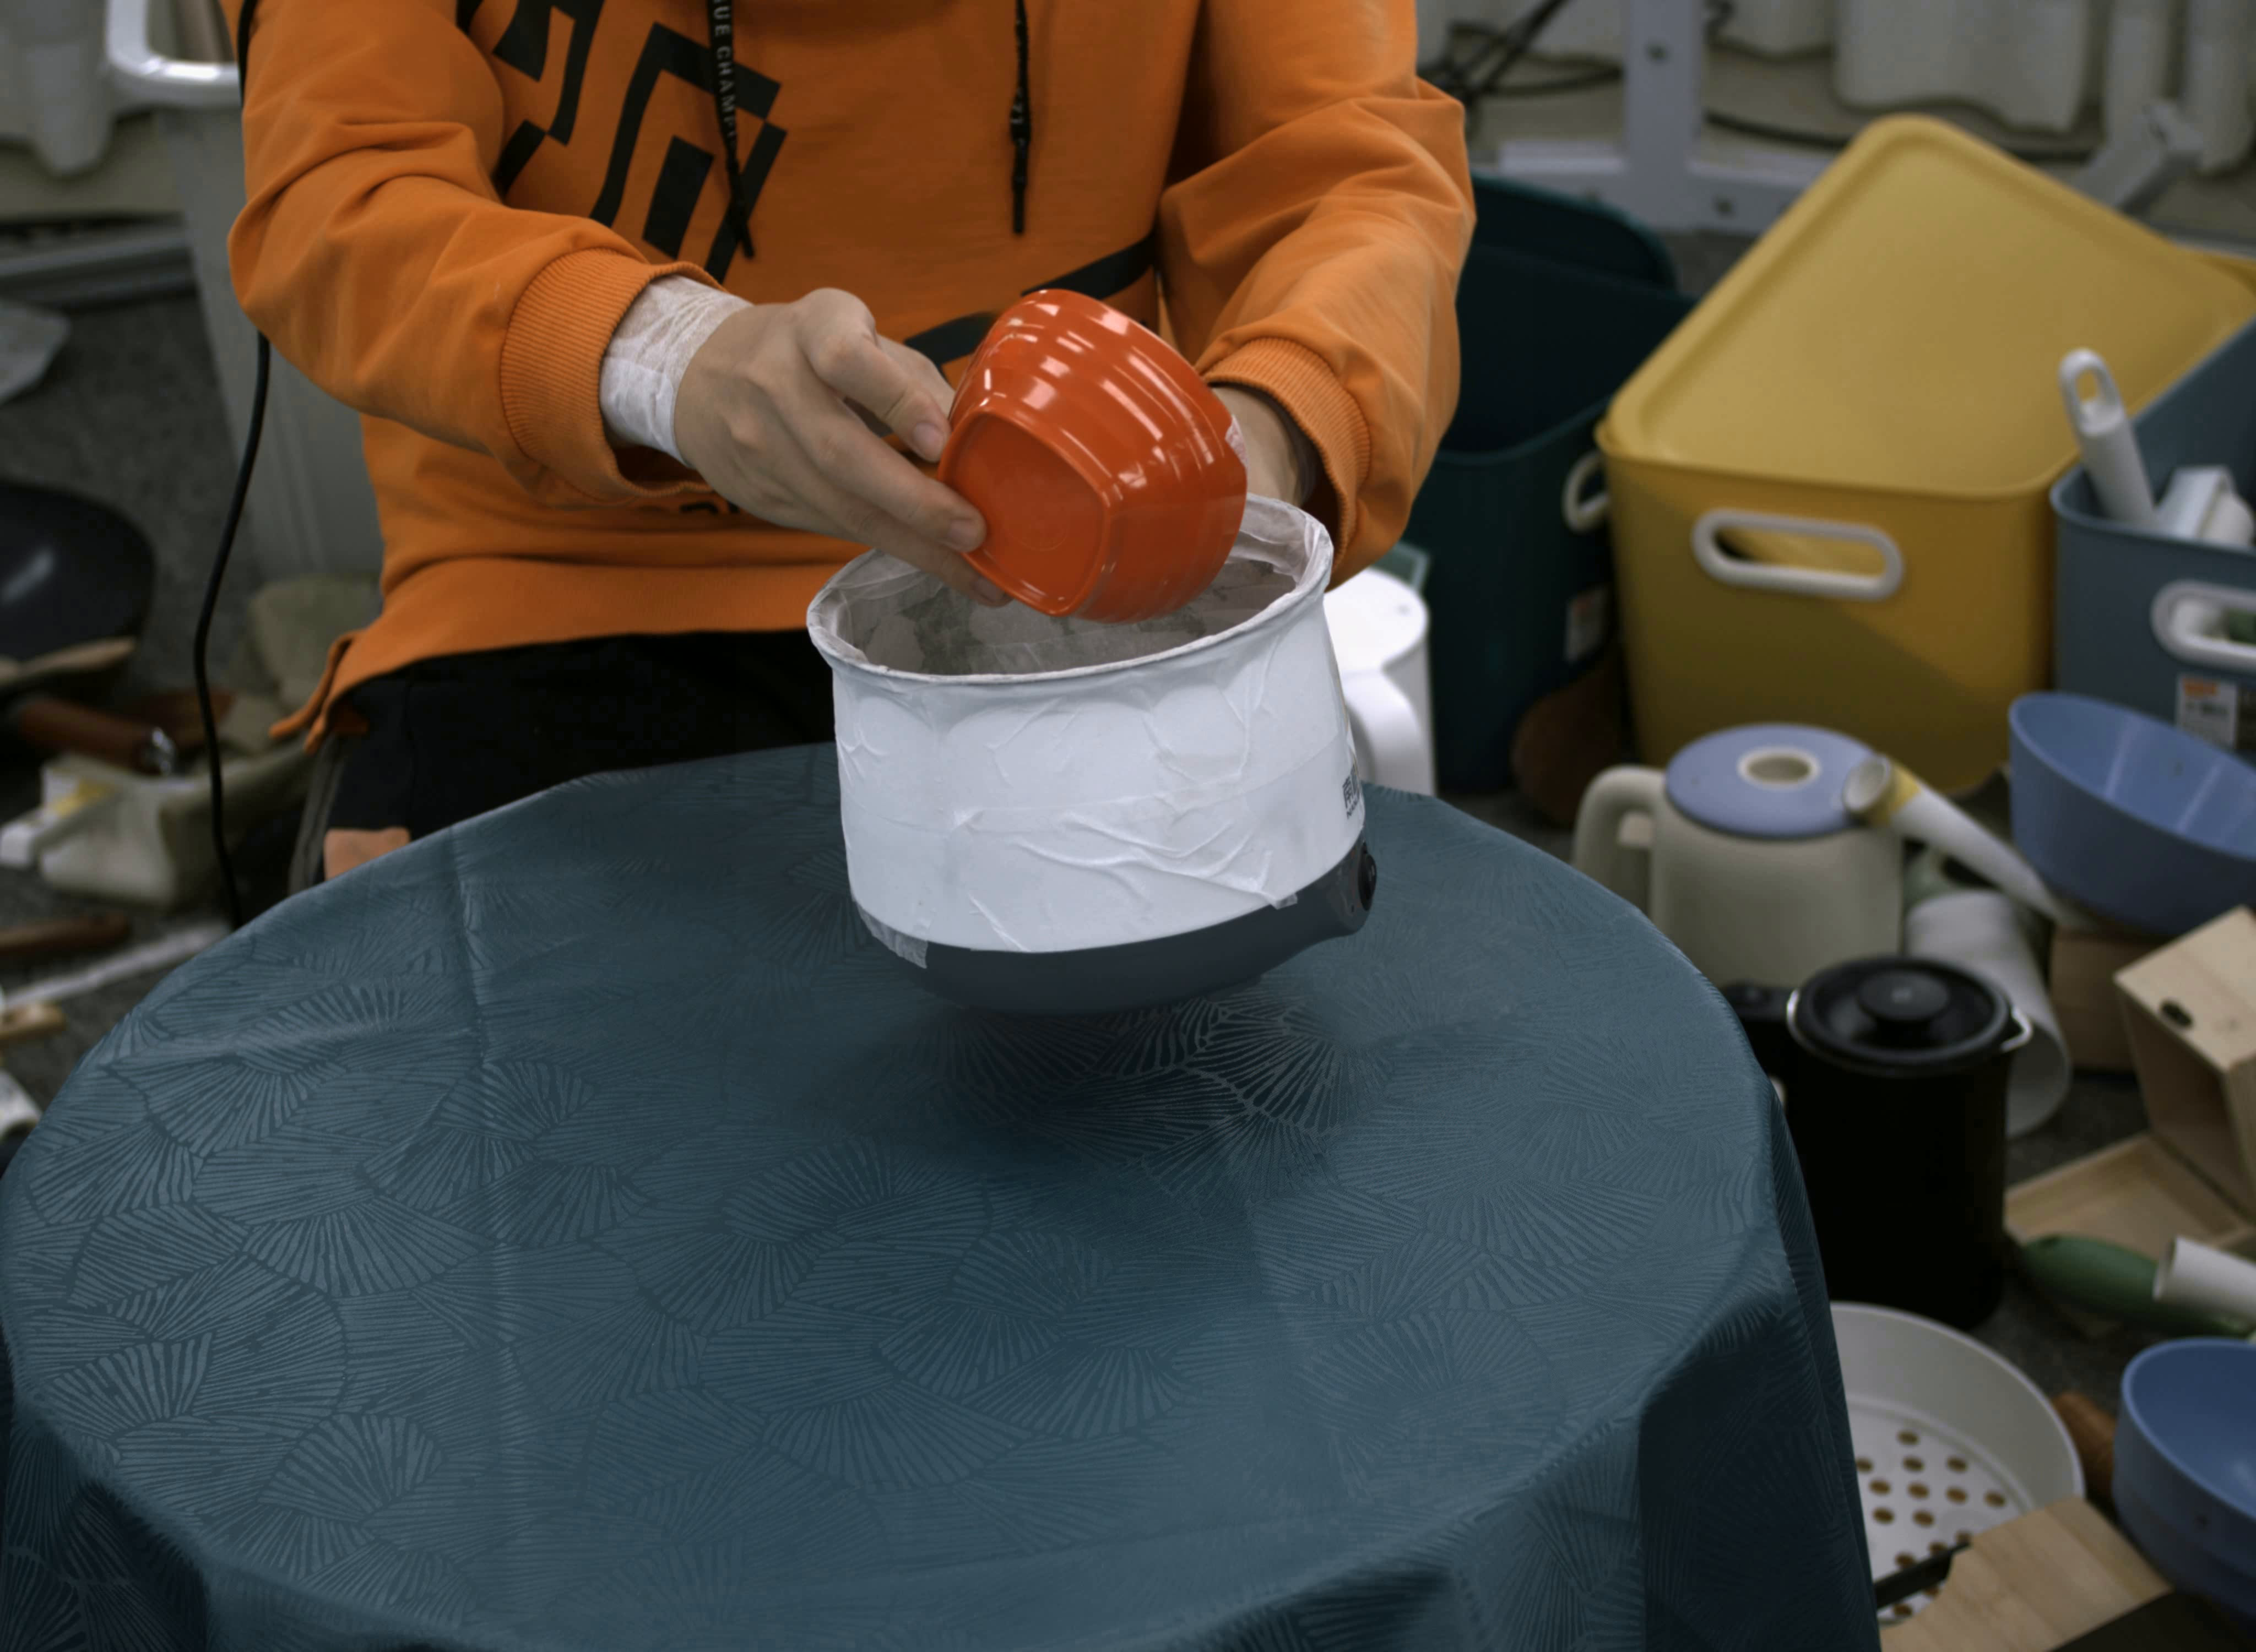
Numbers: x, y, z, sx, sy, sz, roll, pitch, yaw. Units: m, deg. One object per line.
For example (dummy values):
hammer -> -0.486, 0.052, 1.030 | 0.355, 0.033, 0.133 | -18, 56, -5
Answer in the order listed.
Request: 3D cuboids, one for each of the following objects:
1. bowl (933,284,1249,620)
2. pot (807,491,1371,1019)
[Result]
bowl -> -0.021, -0.115, 1.861 | 0.118, 0.117, 0.052 | 15, 37, 31
pot -> -0.007, -0.035, 1.915 | 0.177, 0.135, 0.237 | -3, 22, 11
